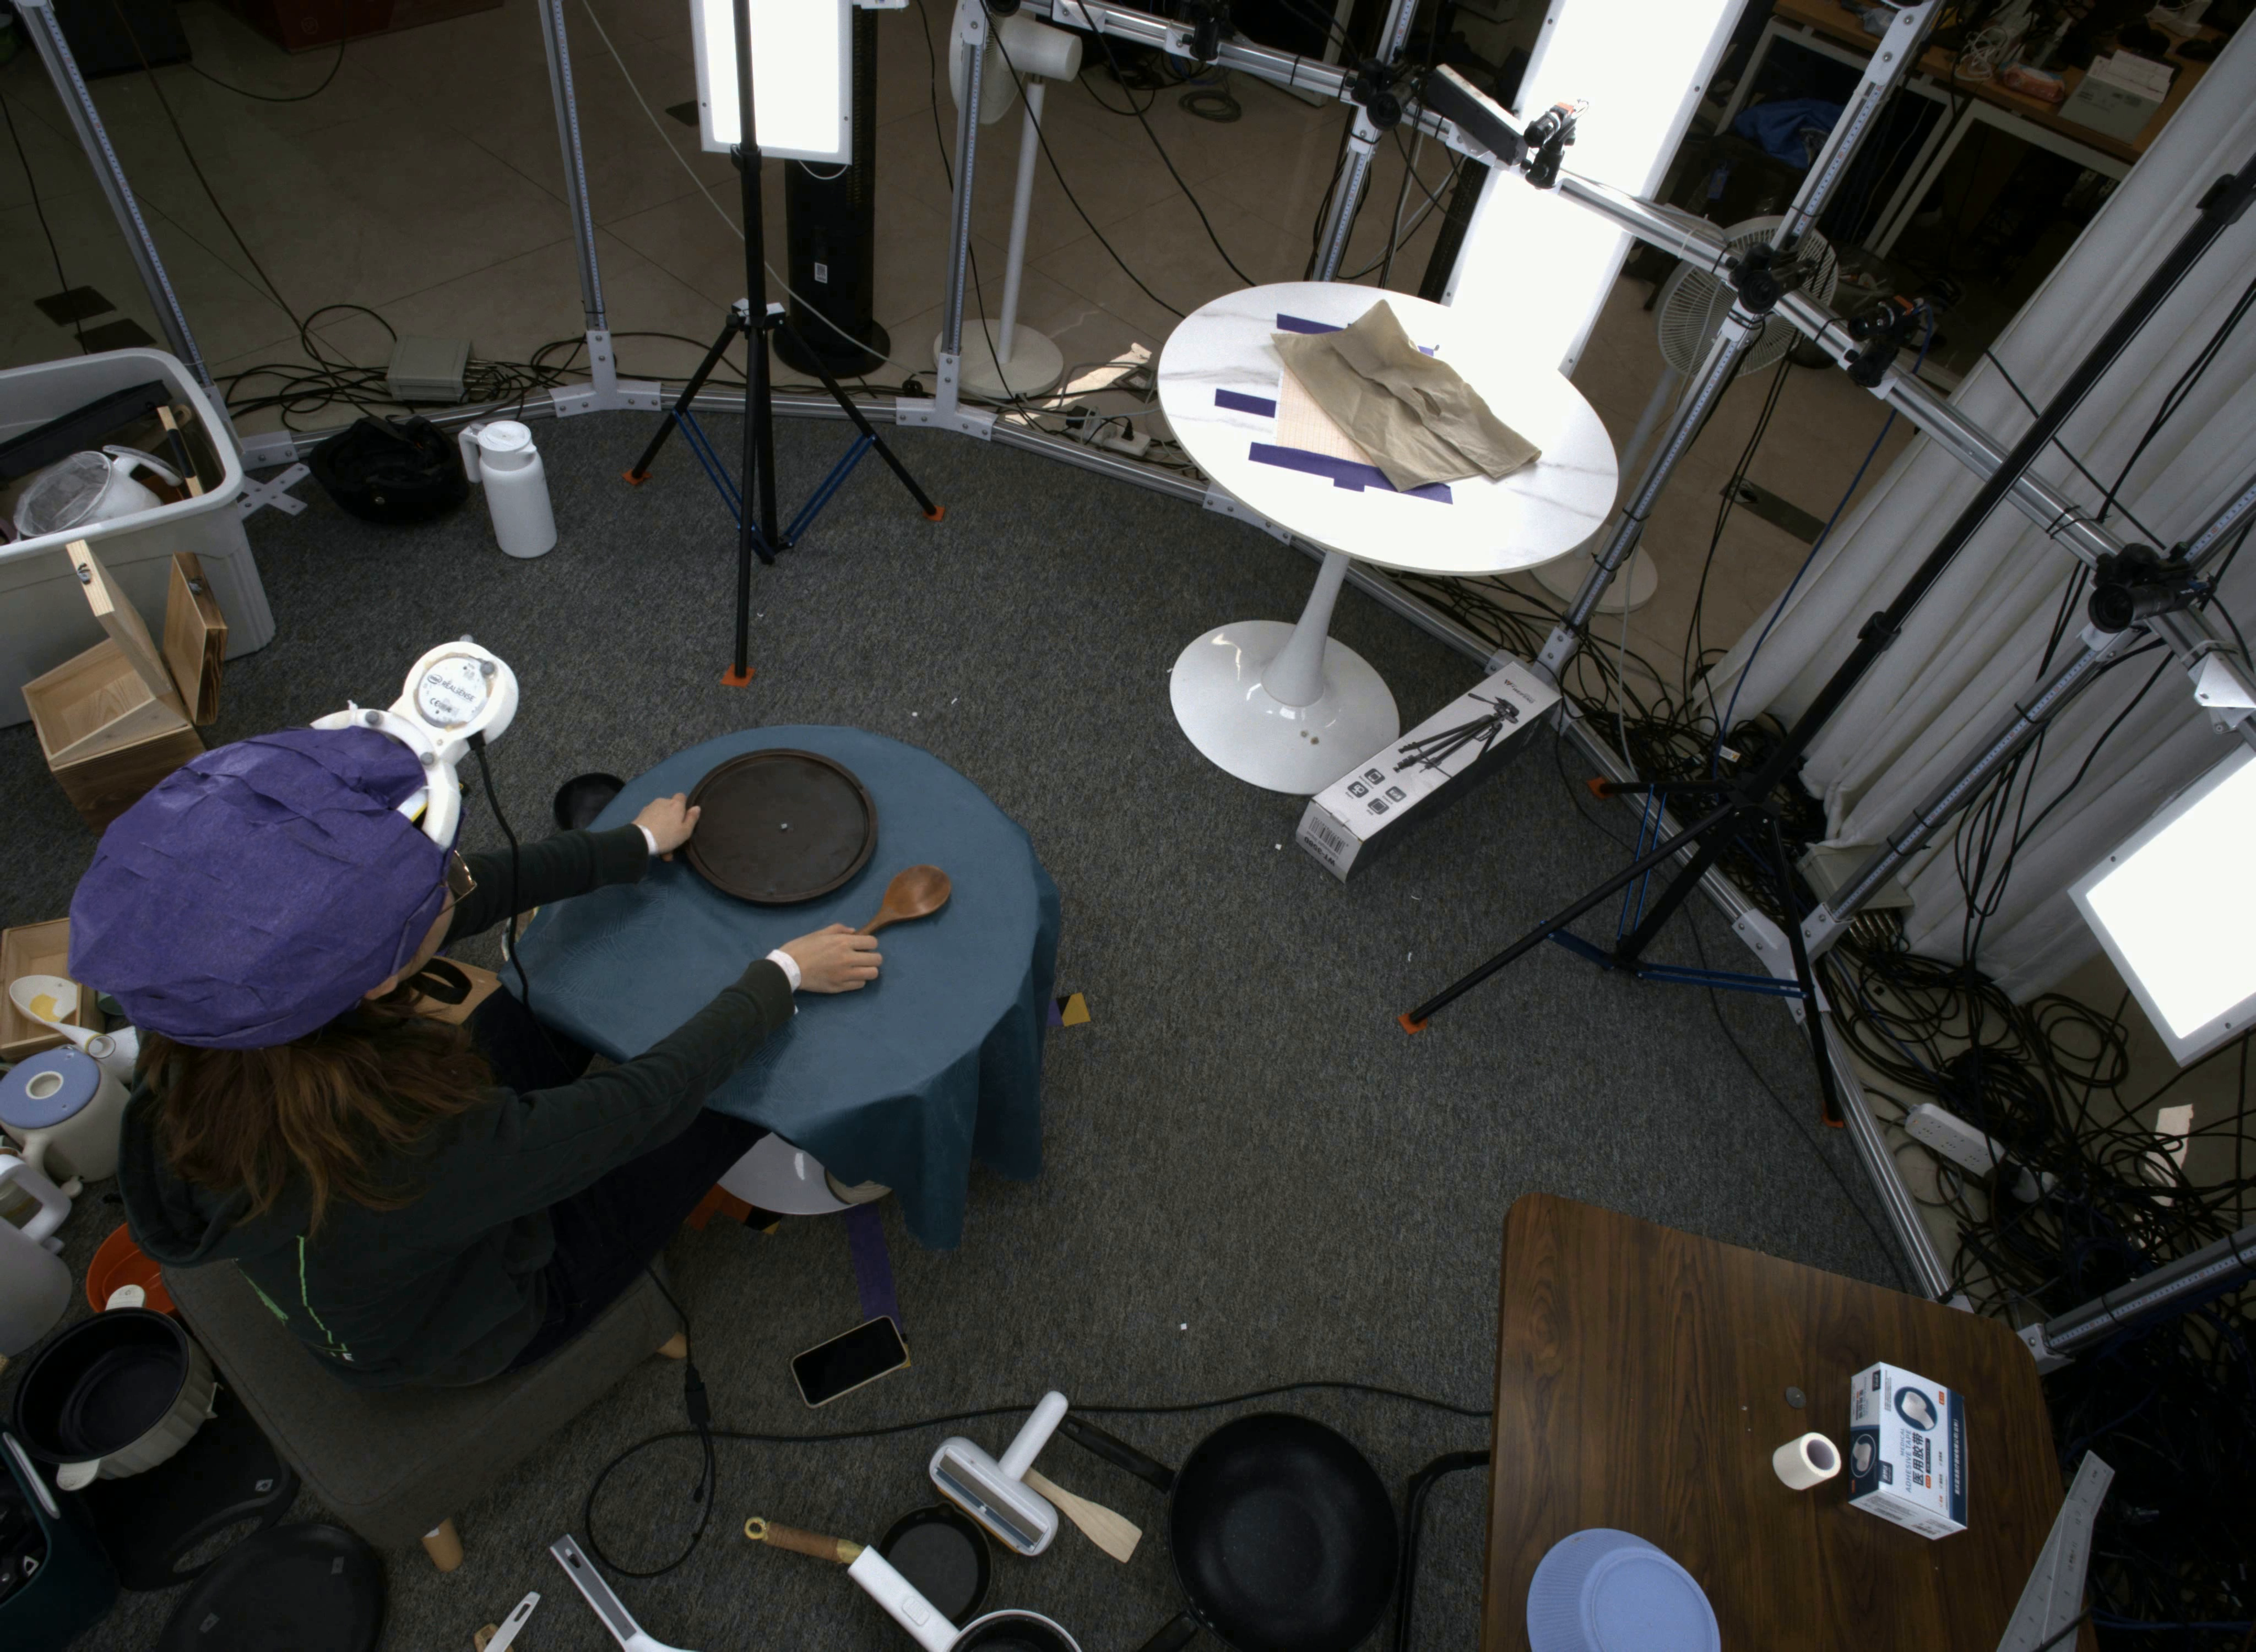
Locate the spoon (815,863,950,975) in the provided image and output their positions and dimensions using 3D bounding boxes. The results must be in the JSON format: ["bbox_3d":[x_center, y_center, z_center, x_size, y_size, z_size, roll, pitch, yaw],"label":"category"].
[{"bbox_3d":[-0.314,0.119,1.658,0.074,0.017,0.216,39,54,15],"label":"spoon"}]

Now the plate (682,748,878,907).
[{"bbox_3d":[-0.457,0.000,1.705,0.254,0.029,0.250,8,52,-9],"label":"plate"}]
